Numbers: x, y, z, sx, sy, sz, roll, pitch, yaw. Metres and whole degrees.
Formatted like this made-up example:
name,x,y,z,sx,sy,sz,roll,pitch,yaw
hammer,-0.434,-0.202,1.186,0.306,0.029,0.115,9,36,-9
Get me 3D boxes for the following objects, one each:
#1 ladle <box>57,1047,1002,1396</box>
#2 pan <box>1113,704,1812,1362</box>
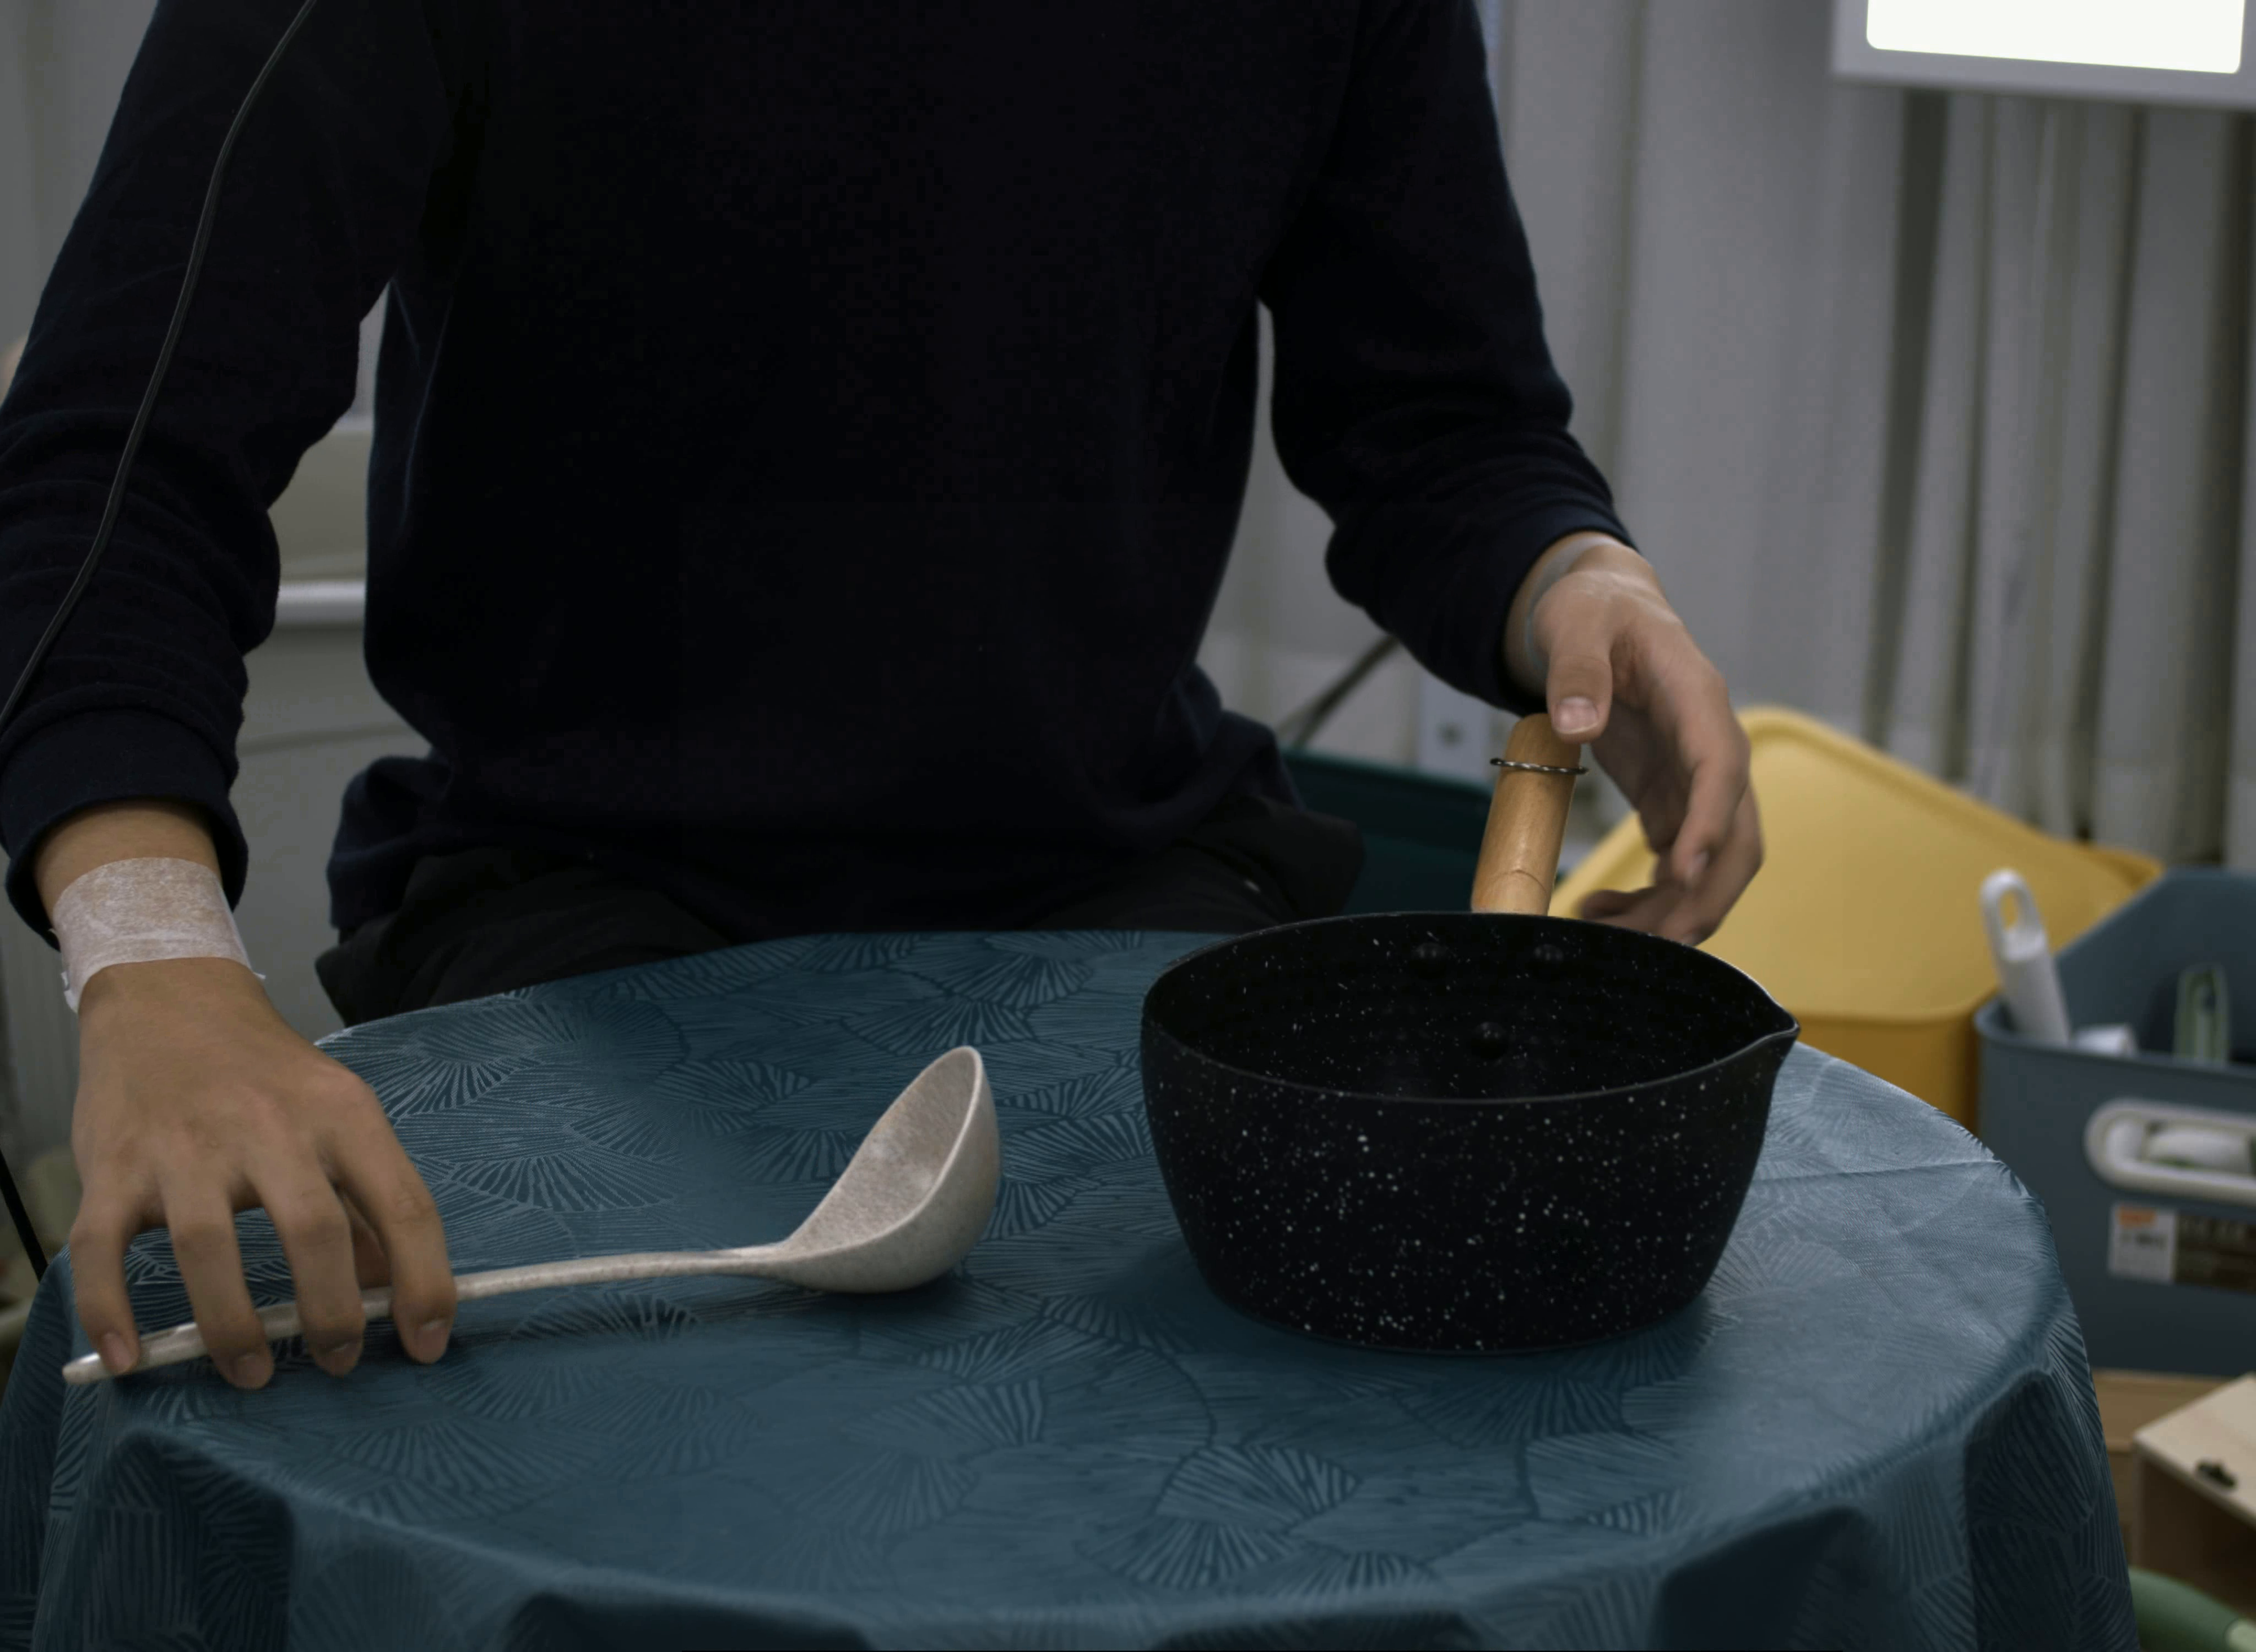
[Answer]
name,x,y,z,sx,sy,sz,roll,pitch,yaw
ladle,-0.169,0.111,1.498,0.275,0.070,0.088,-5,10,-19
pan,0.108,0.058,1.618,0.206,0.109,0.342,2,17,9
